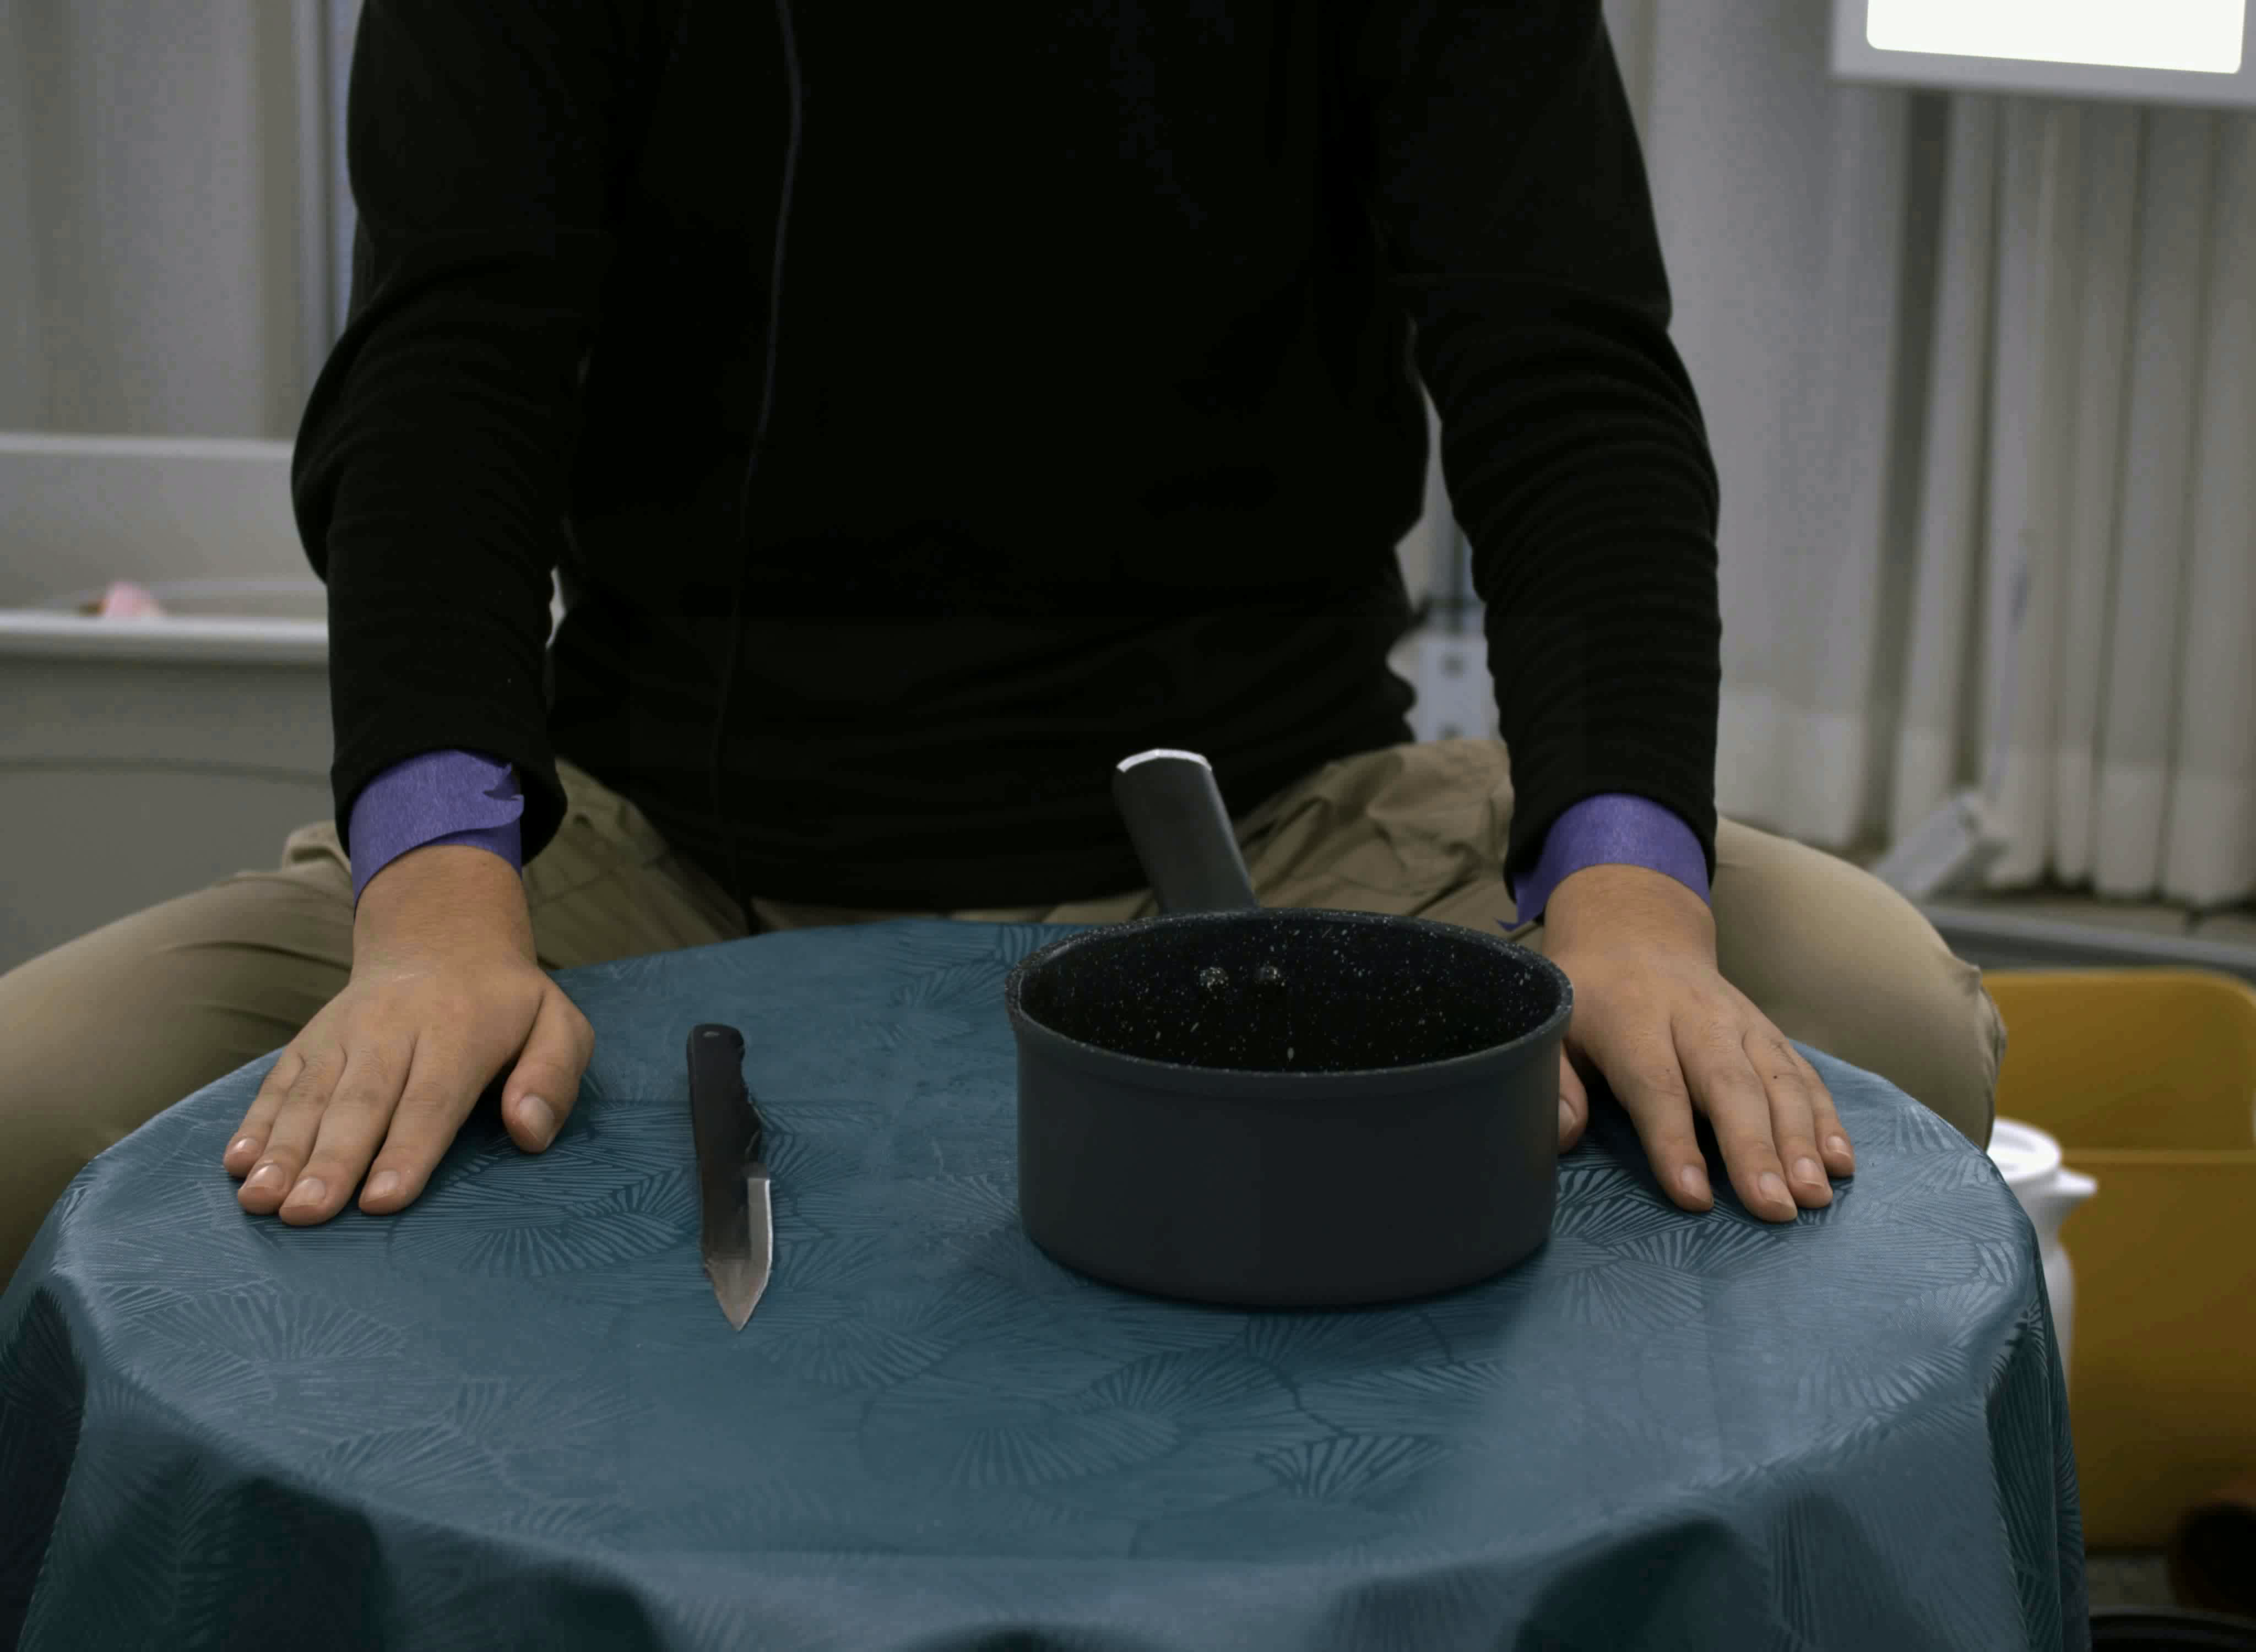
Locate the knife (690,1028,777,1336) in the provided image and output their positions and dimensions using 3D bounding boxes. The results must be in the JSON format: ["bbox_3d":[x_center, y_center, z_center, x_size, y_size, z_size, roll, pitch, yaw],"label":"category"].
[{"bbox_3d":[-0.122,0.108,1.614,0.024,0.016,0.236,1,18,-7],"label":"knife"}]

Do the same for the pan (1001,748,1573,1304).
[{"bbox_3d":[0.040,0.059,1.659,0.172,0.087,0.326,-1,16,-6],"label":"pan"}]
